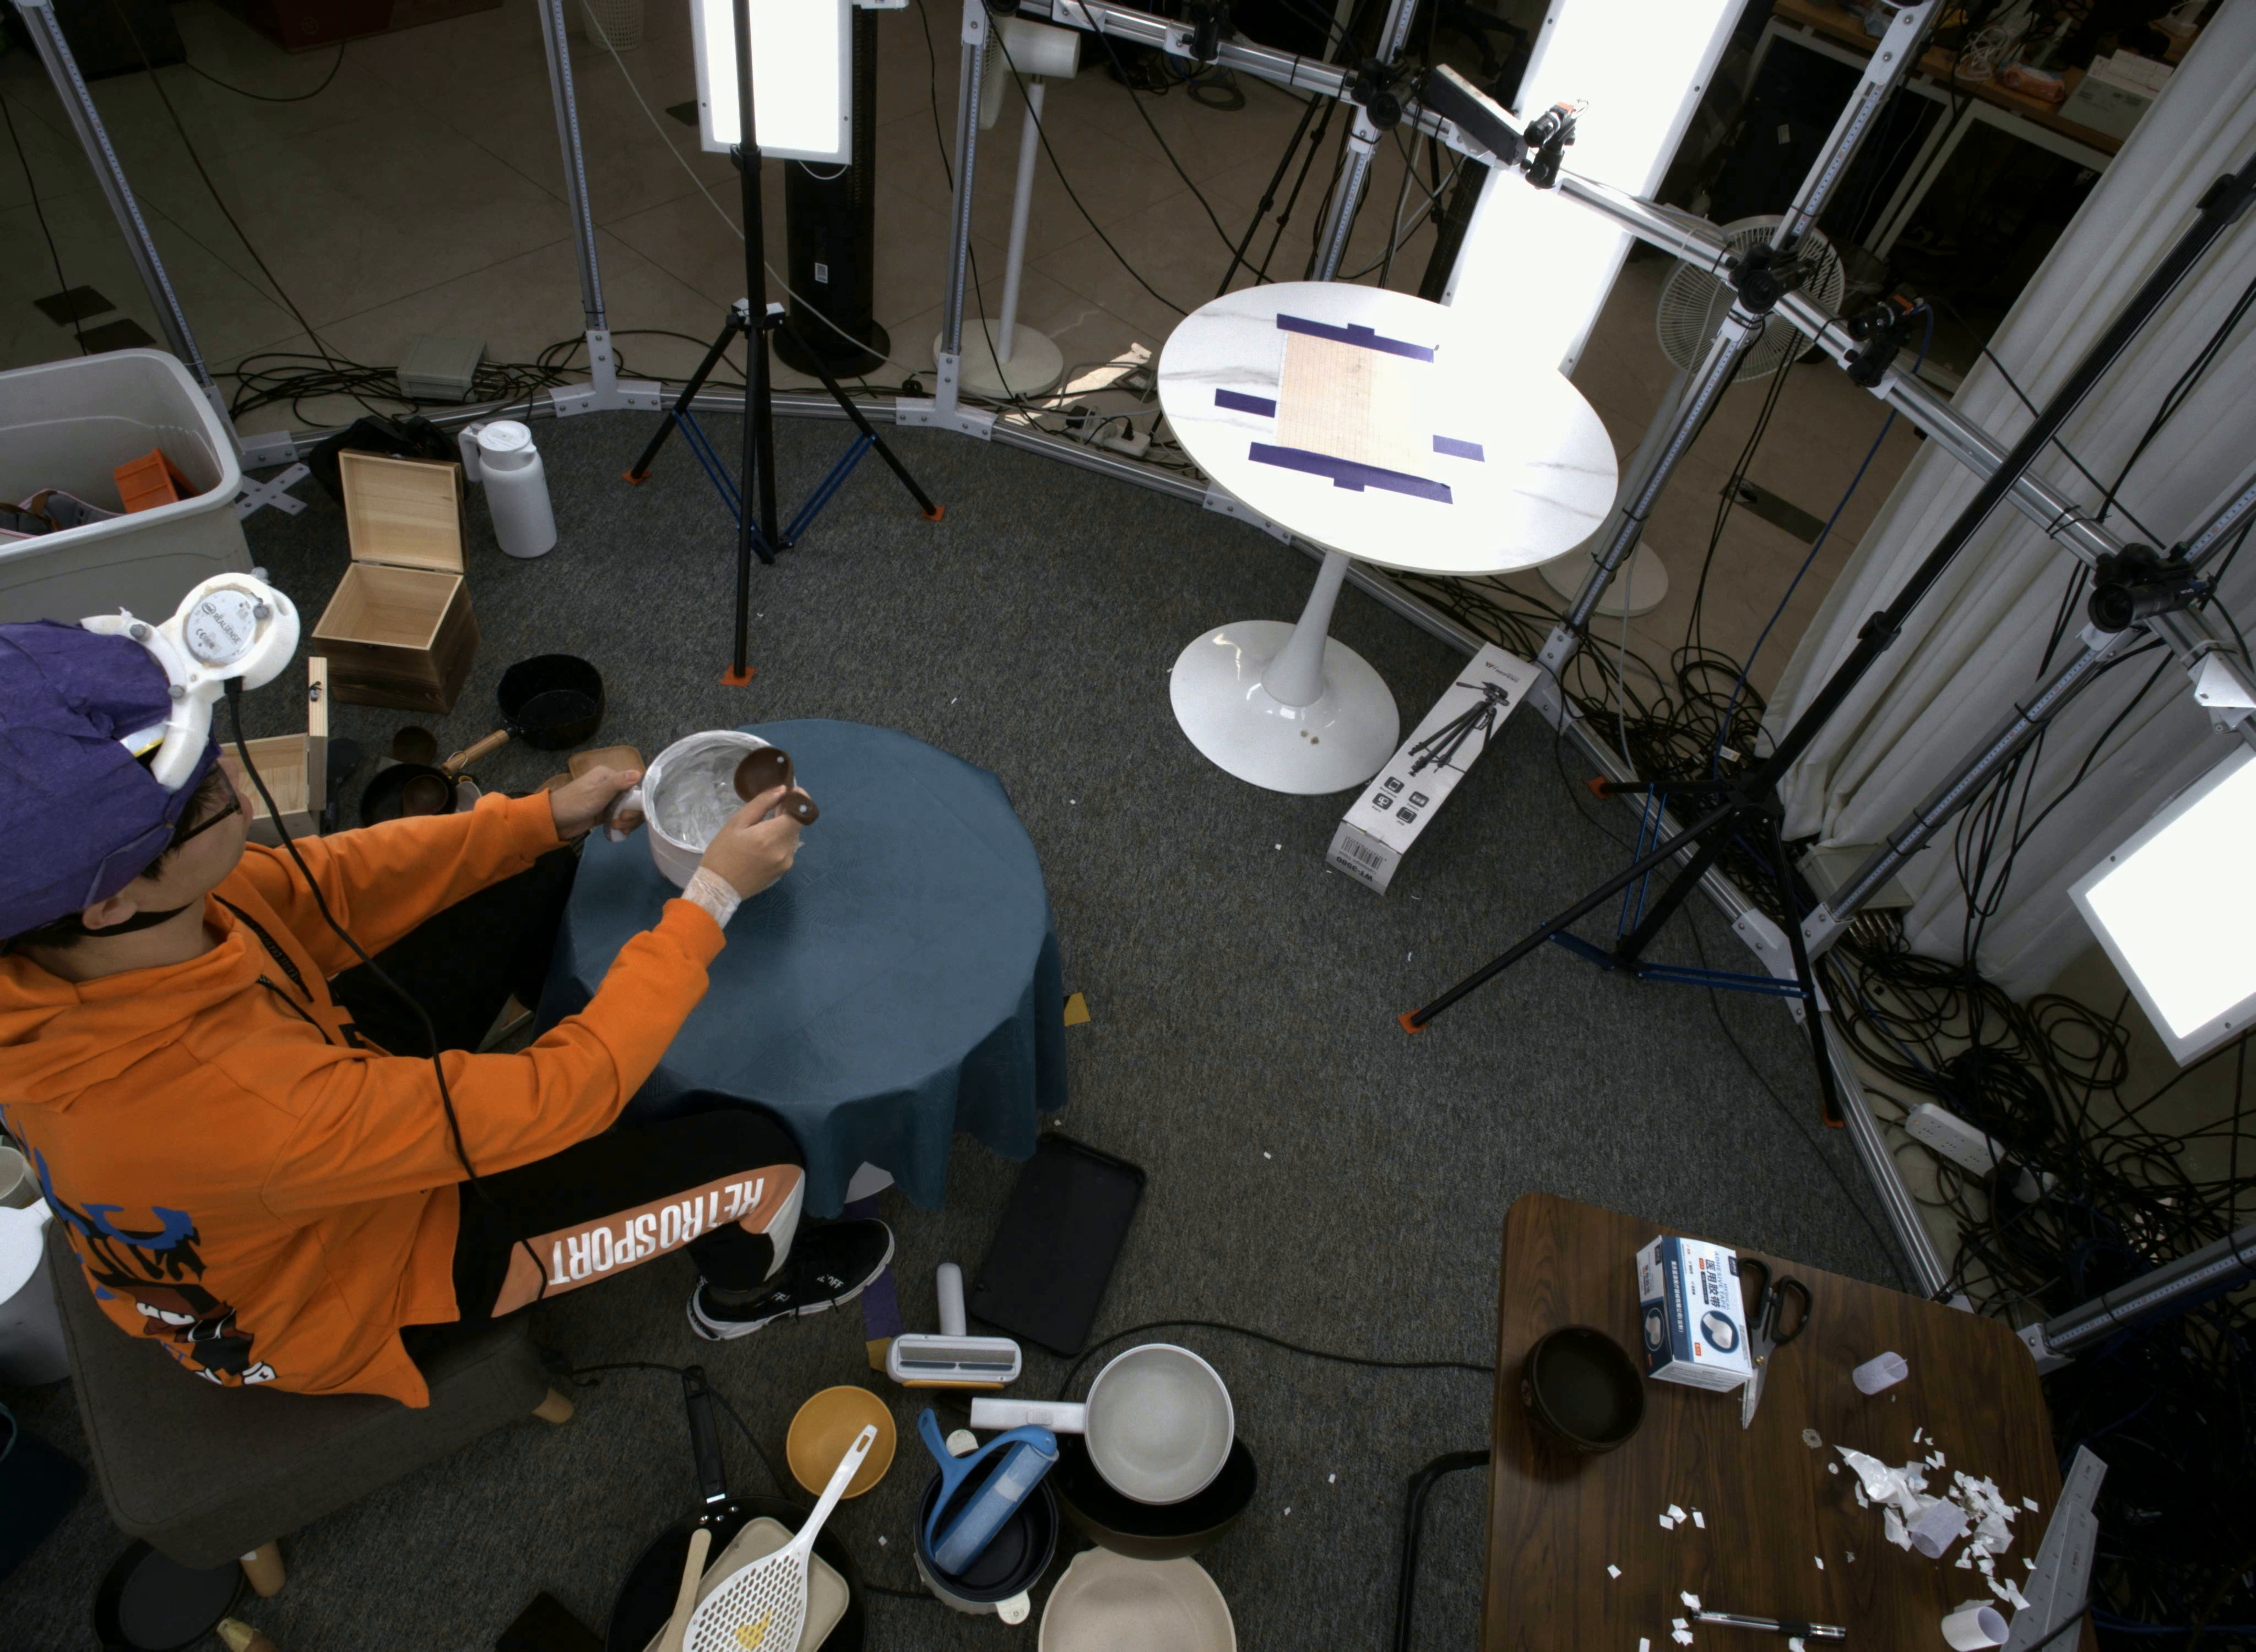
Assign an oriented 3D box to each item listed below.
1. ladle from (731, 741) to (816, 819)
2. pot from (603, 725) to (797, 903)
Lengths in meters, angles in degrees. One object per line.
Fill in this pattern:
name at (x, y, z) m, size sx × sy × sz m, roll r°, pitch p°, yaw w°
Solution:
ladle at (-0.389, -0.049, 1.419) m, size 0.067 × 0.253 × 0.076 m, roll 42°, pitch 81°, yaw -22°
pot at (-0.514, -0.012, 1.534) m, size 0.234 × 0.139 × 0.175 m, roll 3°, pitch 56°, yaw -12°
